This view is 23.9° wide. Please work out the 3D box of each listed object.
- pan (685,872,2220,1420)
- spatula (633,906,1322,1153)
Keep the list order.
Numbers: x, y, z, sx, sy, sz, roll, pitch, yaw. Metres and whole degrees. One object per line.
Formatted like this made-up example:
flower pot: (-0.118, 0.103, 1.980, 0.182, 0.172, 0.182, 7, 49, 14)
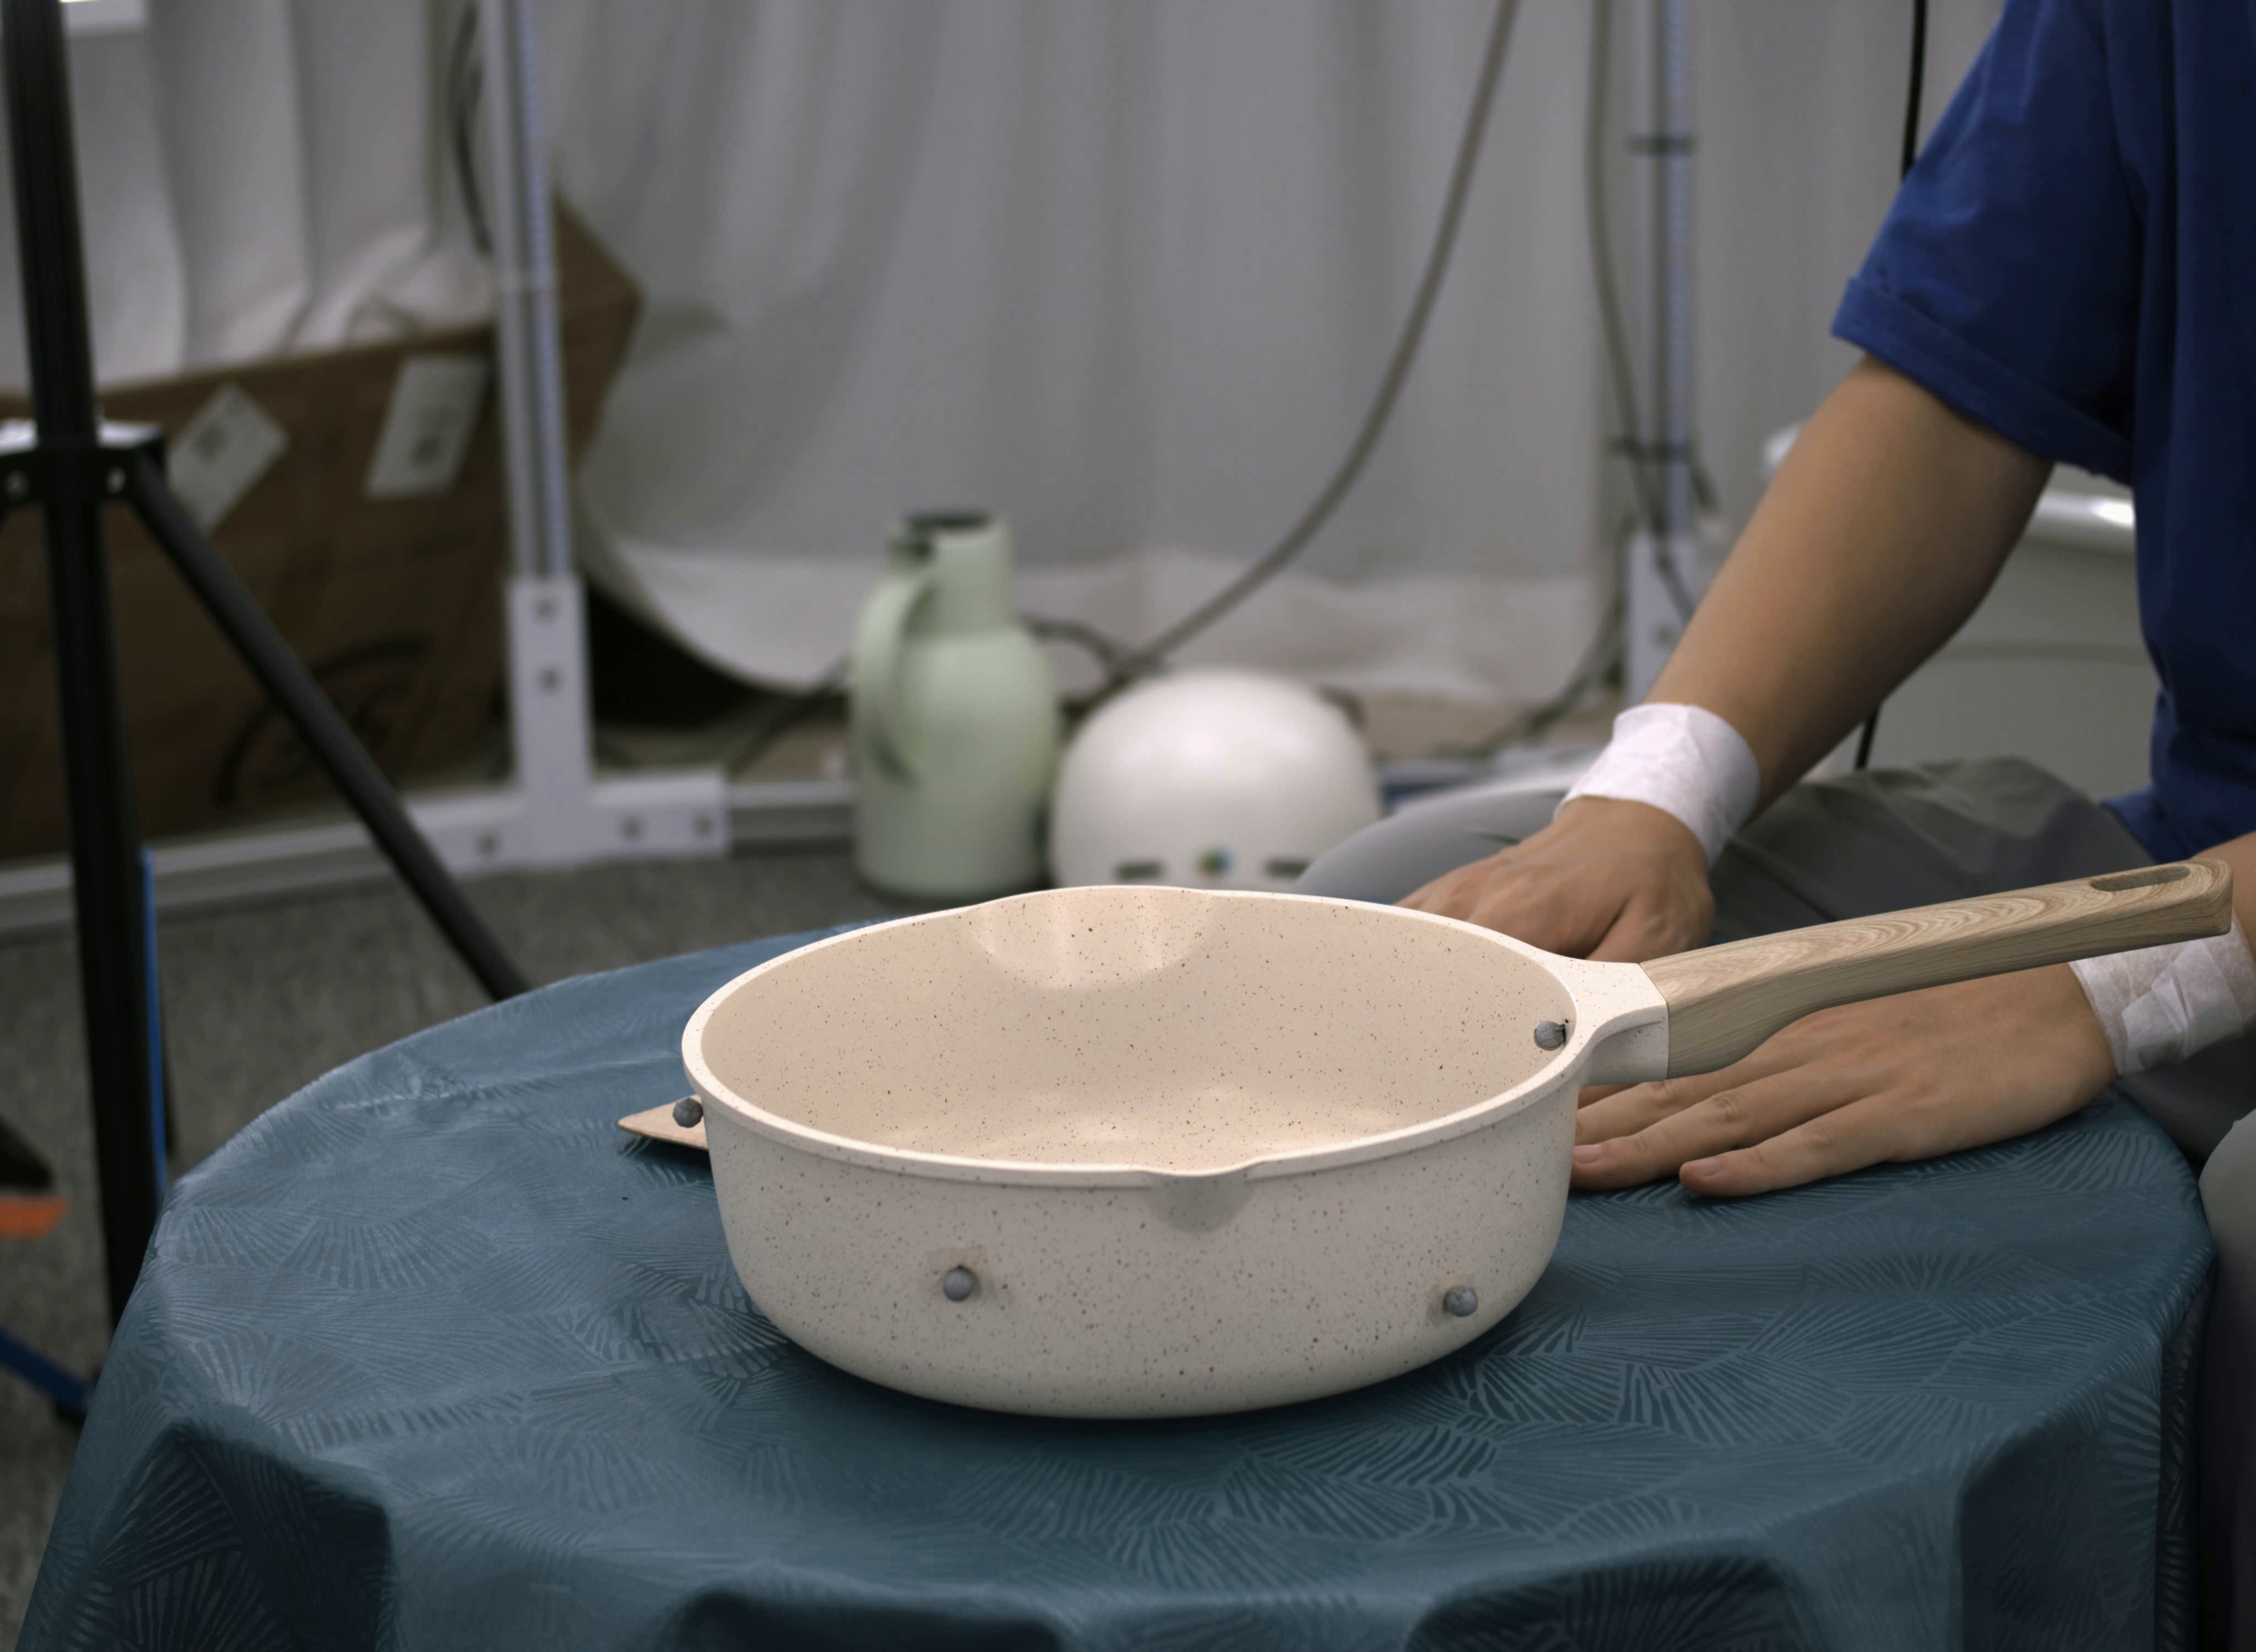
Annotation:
pan: (0.096, 0.079, 1.465, 0.431, 0.102, 0.266, -4, 14, -6)
spatula: (-0.035, 0.064, 1.700, 0.074, 0.010, 0.286, 10, 20, 40)
